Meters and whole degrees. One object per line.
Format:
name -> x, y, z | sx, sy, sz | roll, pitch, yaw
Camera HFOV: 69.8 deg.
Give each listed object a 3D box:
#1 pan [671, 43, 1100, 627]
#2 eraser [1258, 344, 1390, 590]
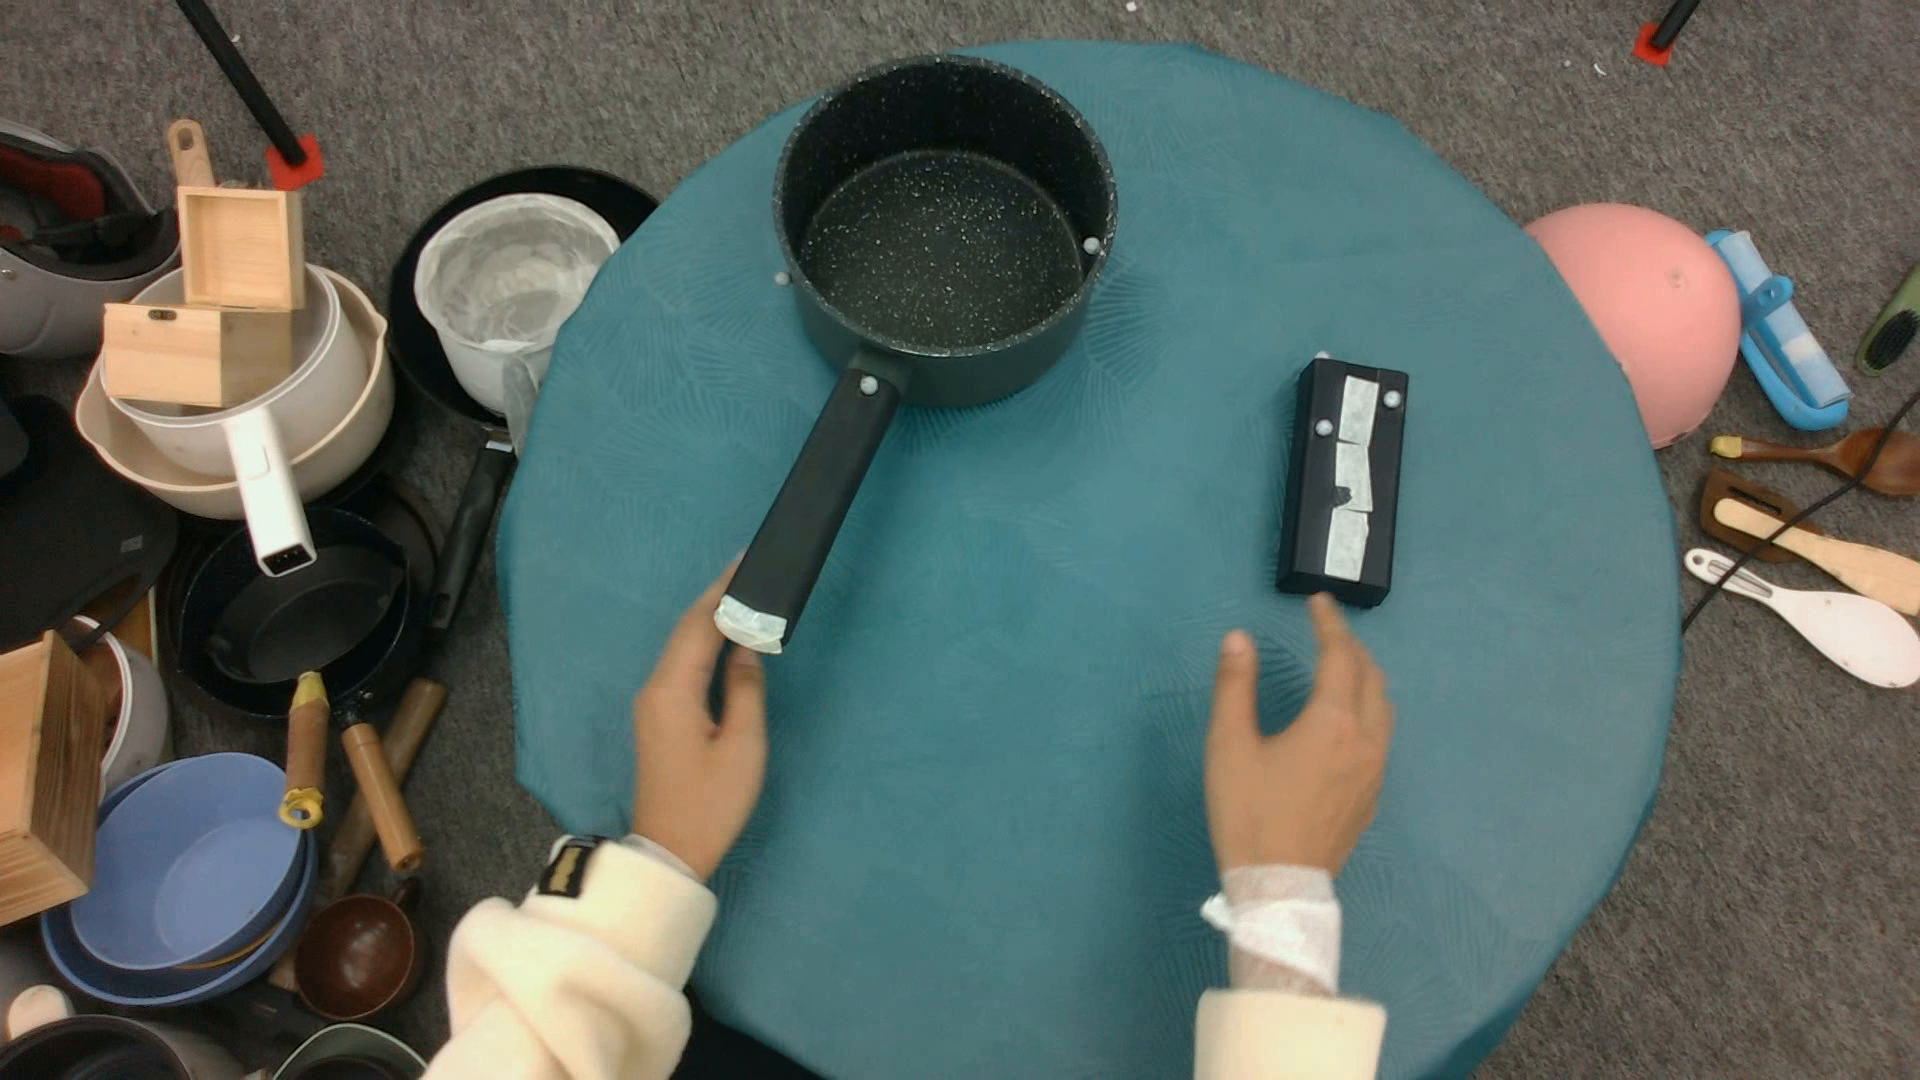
pan -> -0.048, -0.095, 0.685 | 0.172, 0.086, 0.330 | 22, 69, 5
eraser -> 0.187, -0.039, 0.709 | 0.053, 0.030, 0.126 | 11, 71, 1
